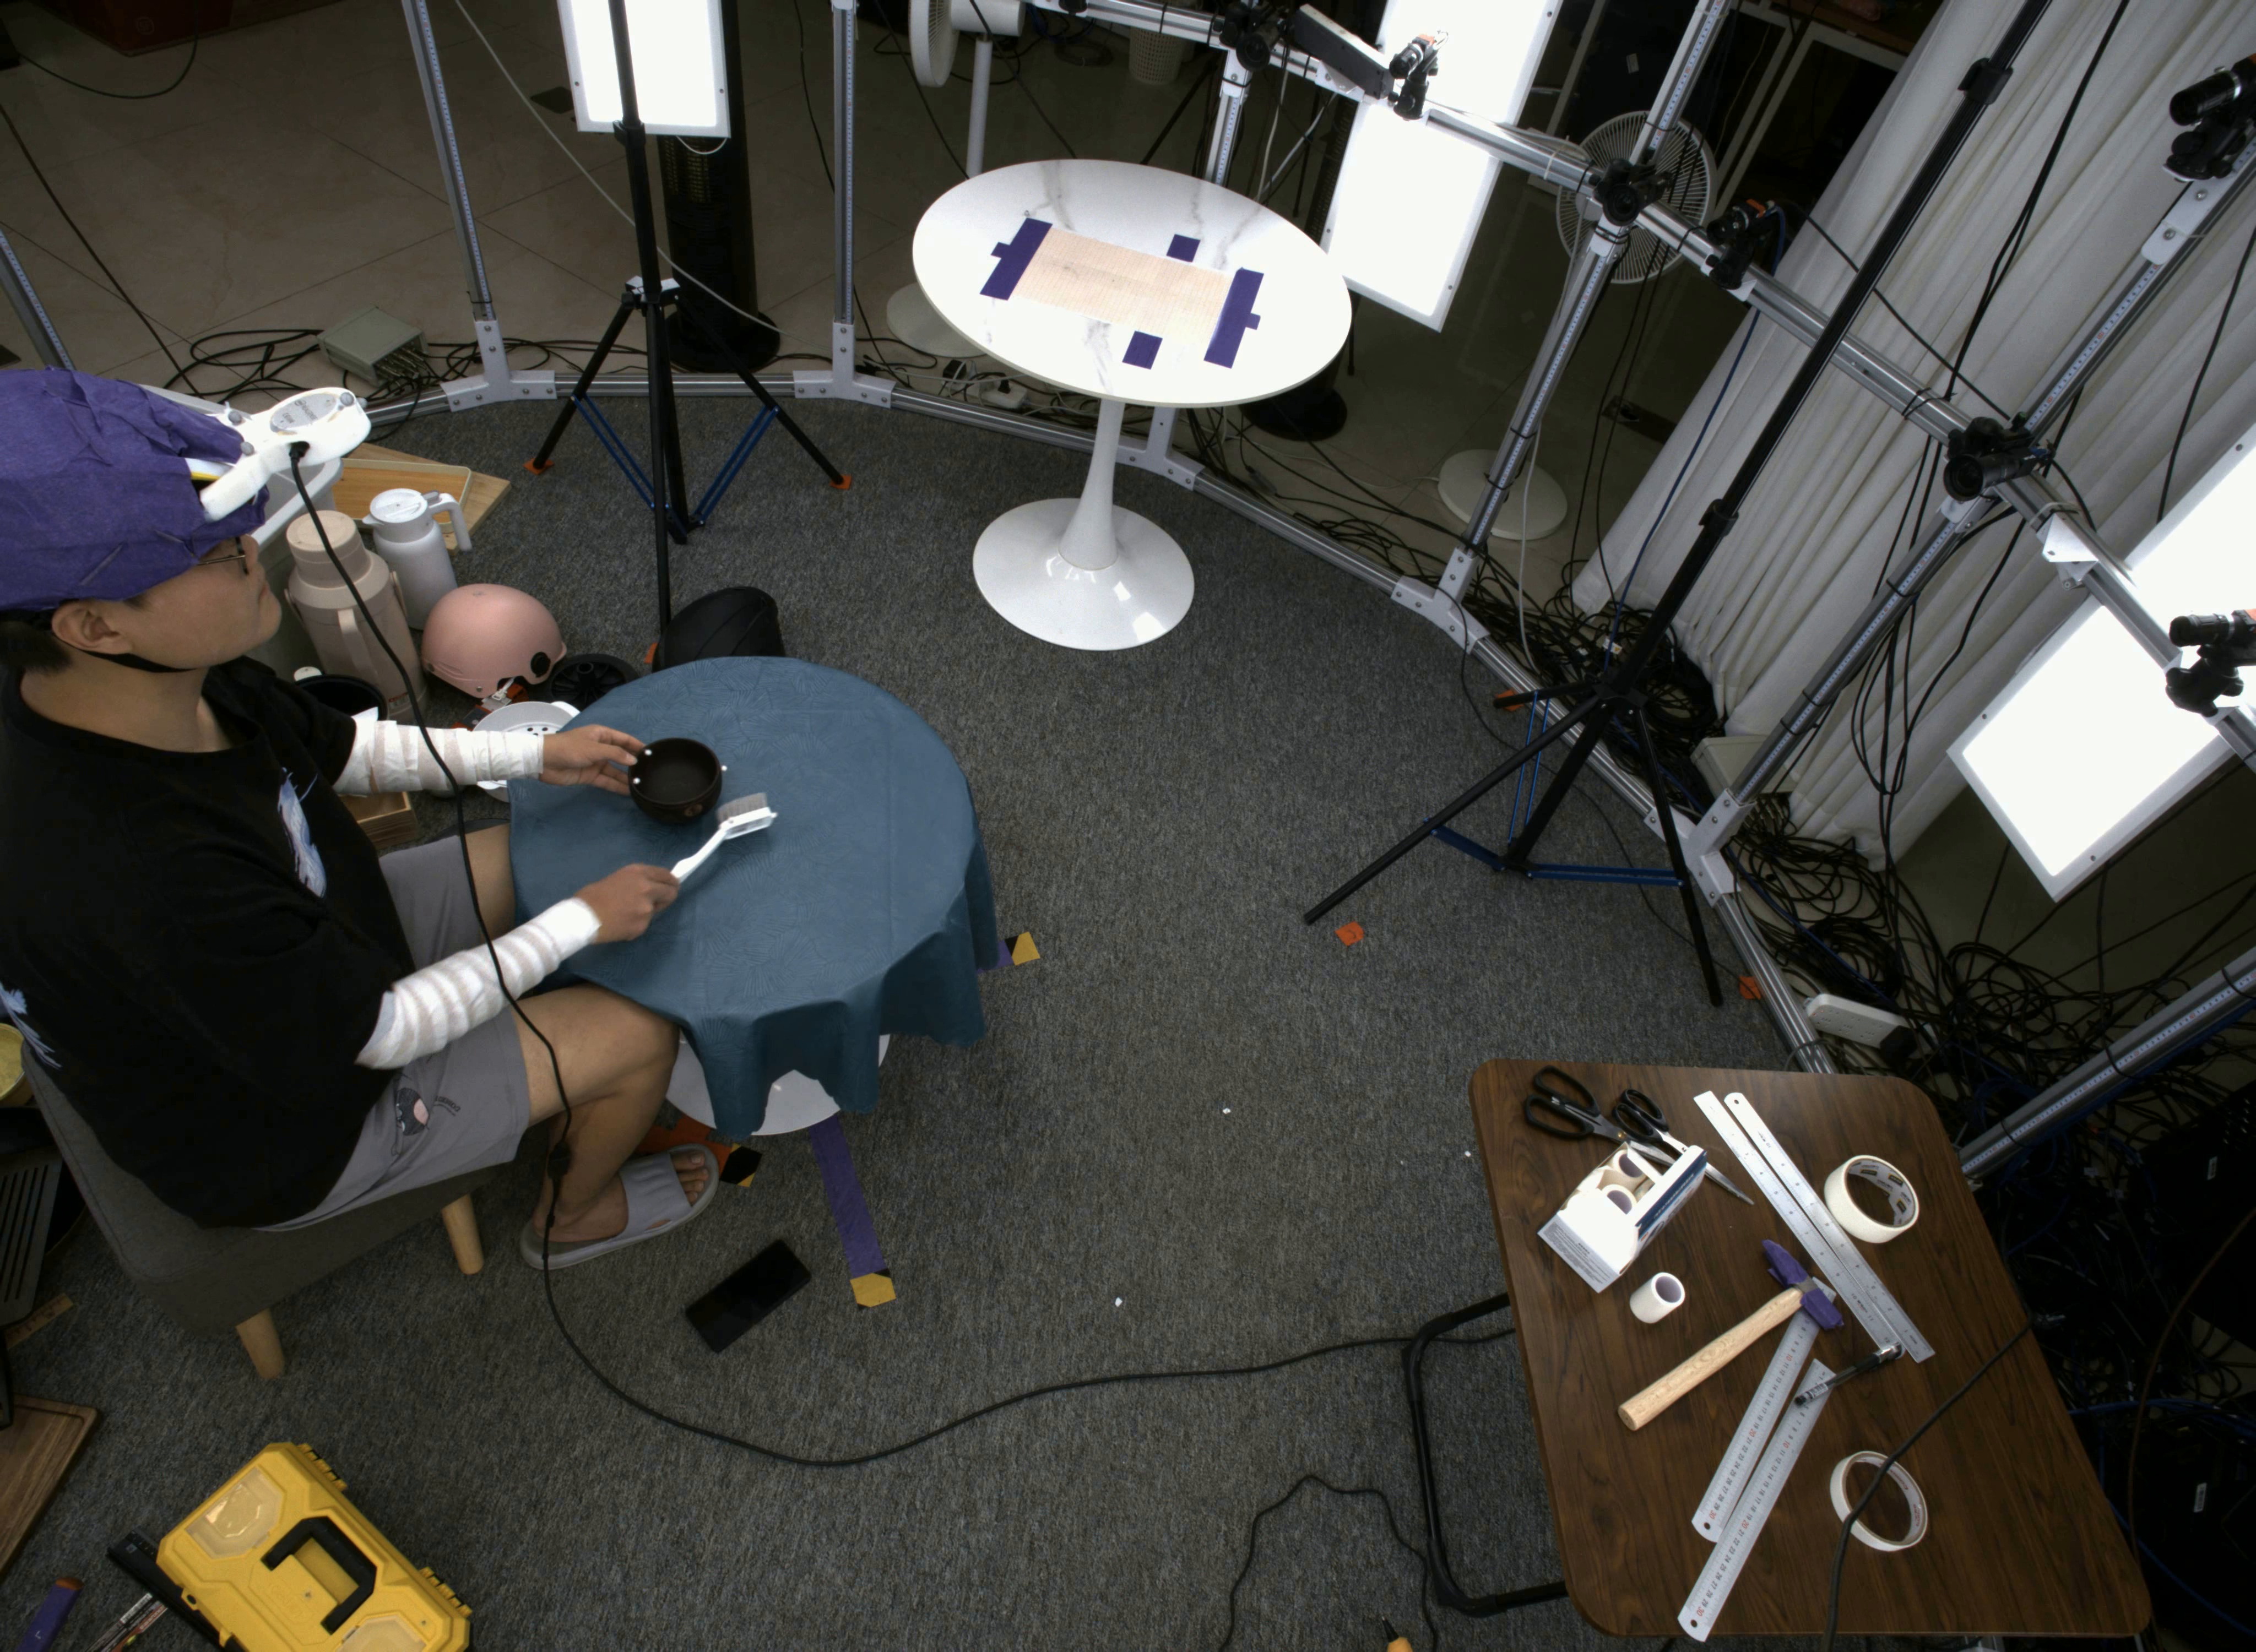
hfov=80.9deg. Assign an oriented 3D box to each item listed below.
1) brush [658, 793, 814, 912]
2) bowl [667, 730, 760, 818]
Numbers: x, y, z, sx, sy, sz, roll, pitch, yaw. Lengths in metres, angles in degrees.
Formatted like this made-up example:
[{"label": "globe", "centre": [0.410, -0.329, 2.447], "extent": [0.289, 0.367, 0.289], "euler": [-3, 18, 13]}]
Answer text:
[{"label": "brush", "centre": [-0.505, 0.026, 1.650], "extent": [0.244, 0.035, 0.049], "euler": [-35, 75, -32]}, {"label": "bowl", "centre": [-0.545, -0.061, 1.703], "extent": [0.117, 0.071, 0.116], "euler": [6, 55, -7]}]
